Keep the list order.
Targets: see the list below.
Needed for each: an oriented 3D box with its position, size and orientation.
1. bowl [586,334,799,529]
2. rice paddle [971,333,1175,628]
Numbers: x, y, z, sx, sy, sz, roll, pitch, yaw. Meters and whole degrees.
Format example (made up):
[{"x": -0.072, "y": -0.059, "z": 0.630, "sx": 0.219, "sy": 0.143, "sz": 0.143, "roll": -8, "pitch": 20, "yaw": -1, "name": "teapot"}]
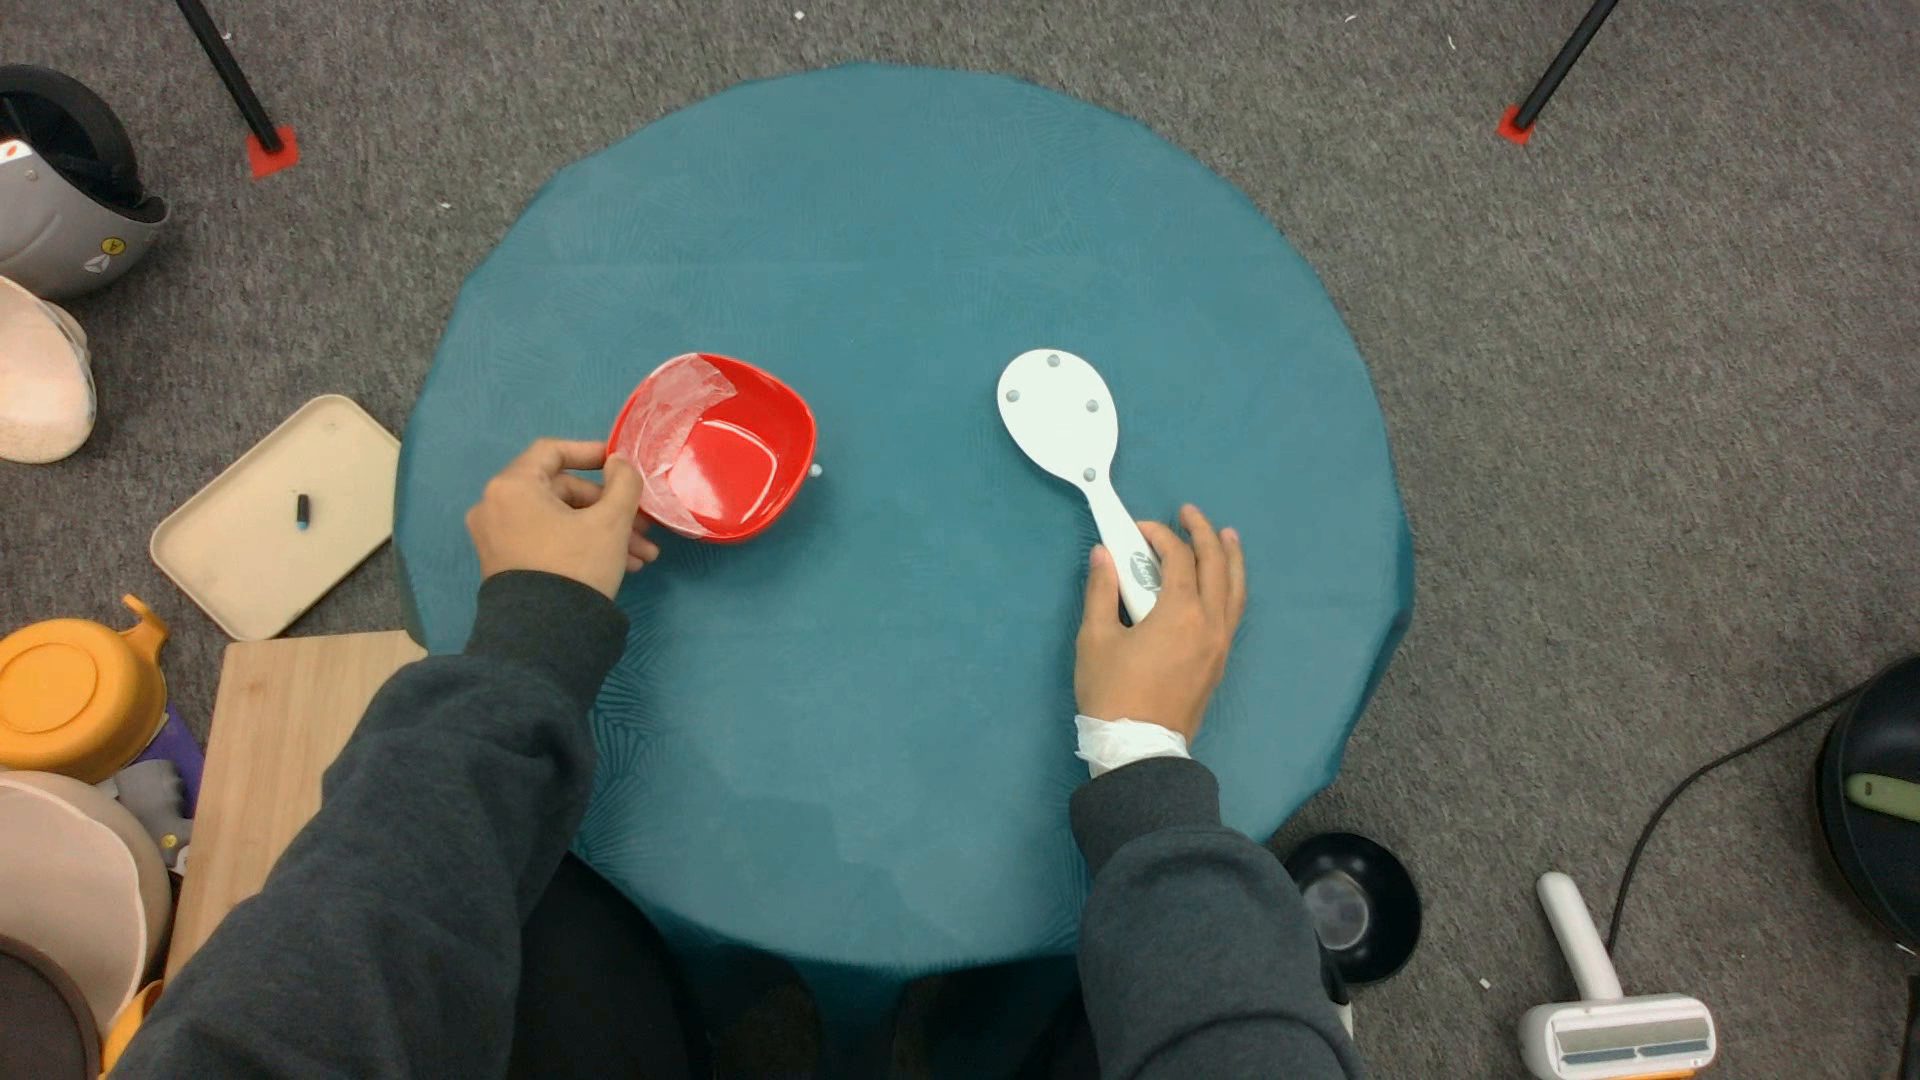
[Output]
[{"x": -0.152, "y": -0.055, "z": 0.791, "sx": 0.119, "sy": 0.051, "sz": 0.119, "roll": 3, "pitch": 69, "yaw": -7, "name": "bowl"}, {"x": 0.067, "y": -0.043, "z": 0.820, "sx": 0.069, "sy": 0.029, "sz": 0.205, "roll": -21, "pitch": 68, "yaw": -13, "name": "rice paddle"}]
